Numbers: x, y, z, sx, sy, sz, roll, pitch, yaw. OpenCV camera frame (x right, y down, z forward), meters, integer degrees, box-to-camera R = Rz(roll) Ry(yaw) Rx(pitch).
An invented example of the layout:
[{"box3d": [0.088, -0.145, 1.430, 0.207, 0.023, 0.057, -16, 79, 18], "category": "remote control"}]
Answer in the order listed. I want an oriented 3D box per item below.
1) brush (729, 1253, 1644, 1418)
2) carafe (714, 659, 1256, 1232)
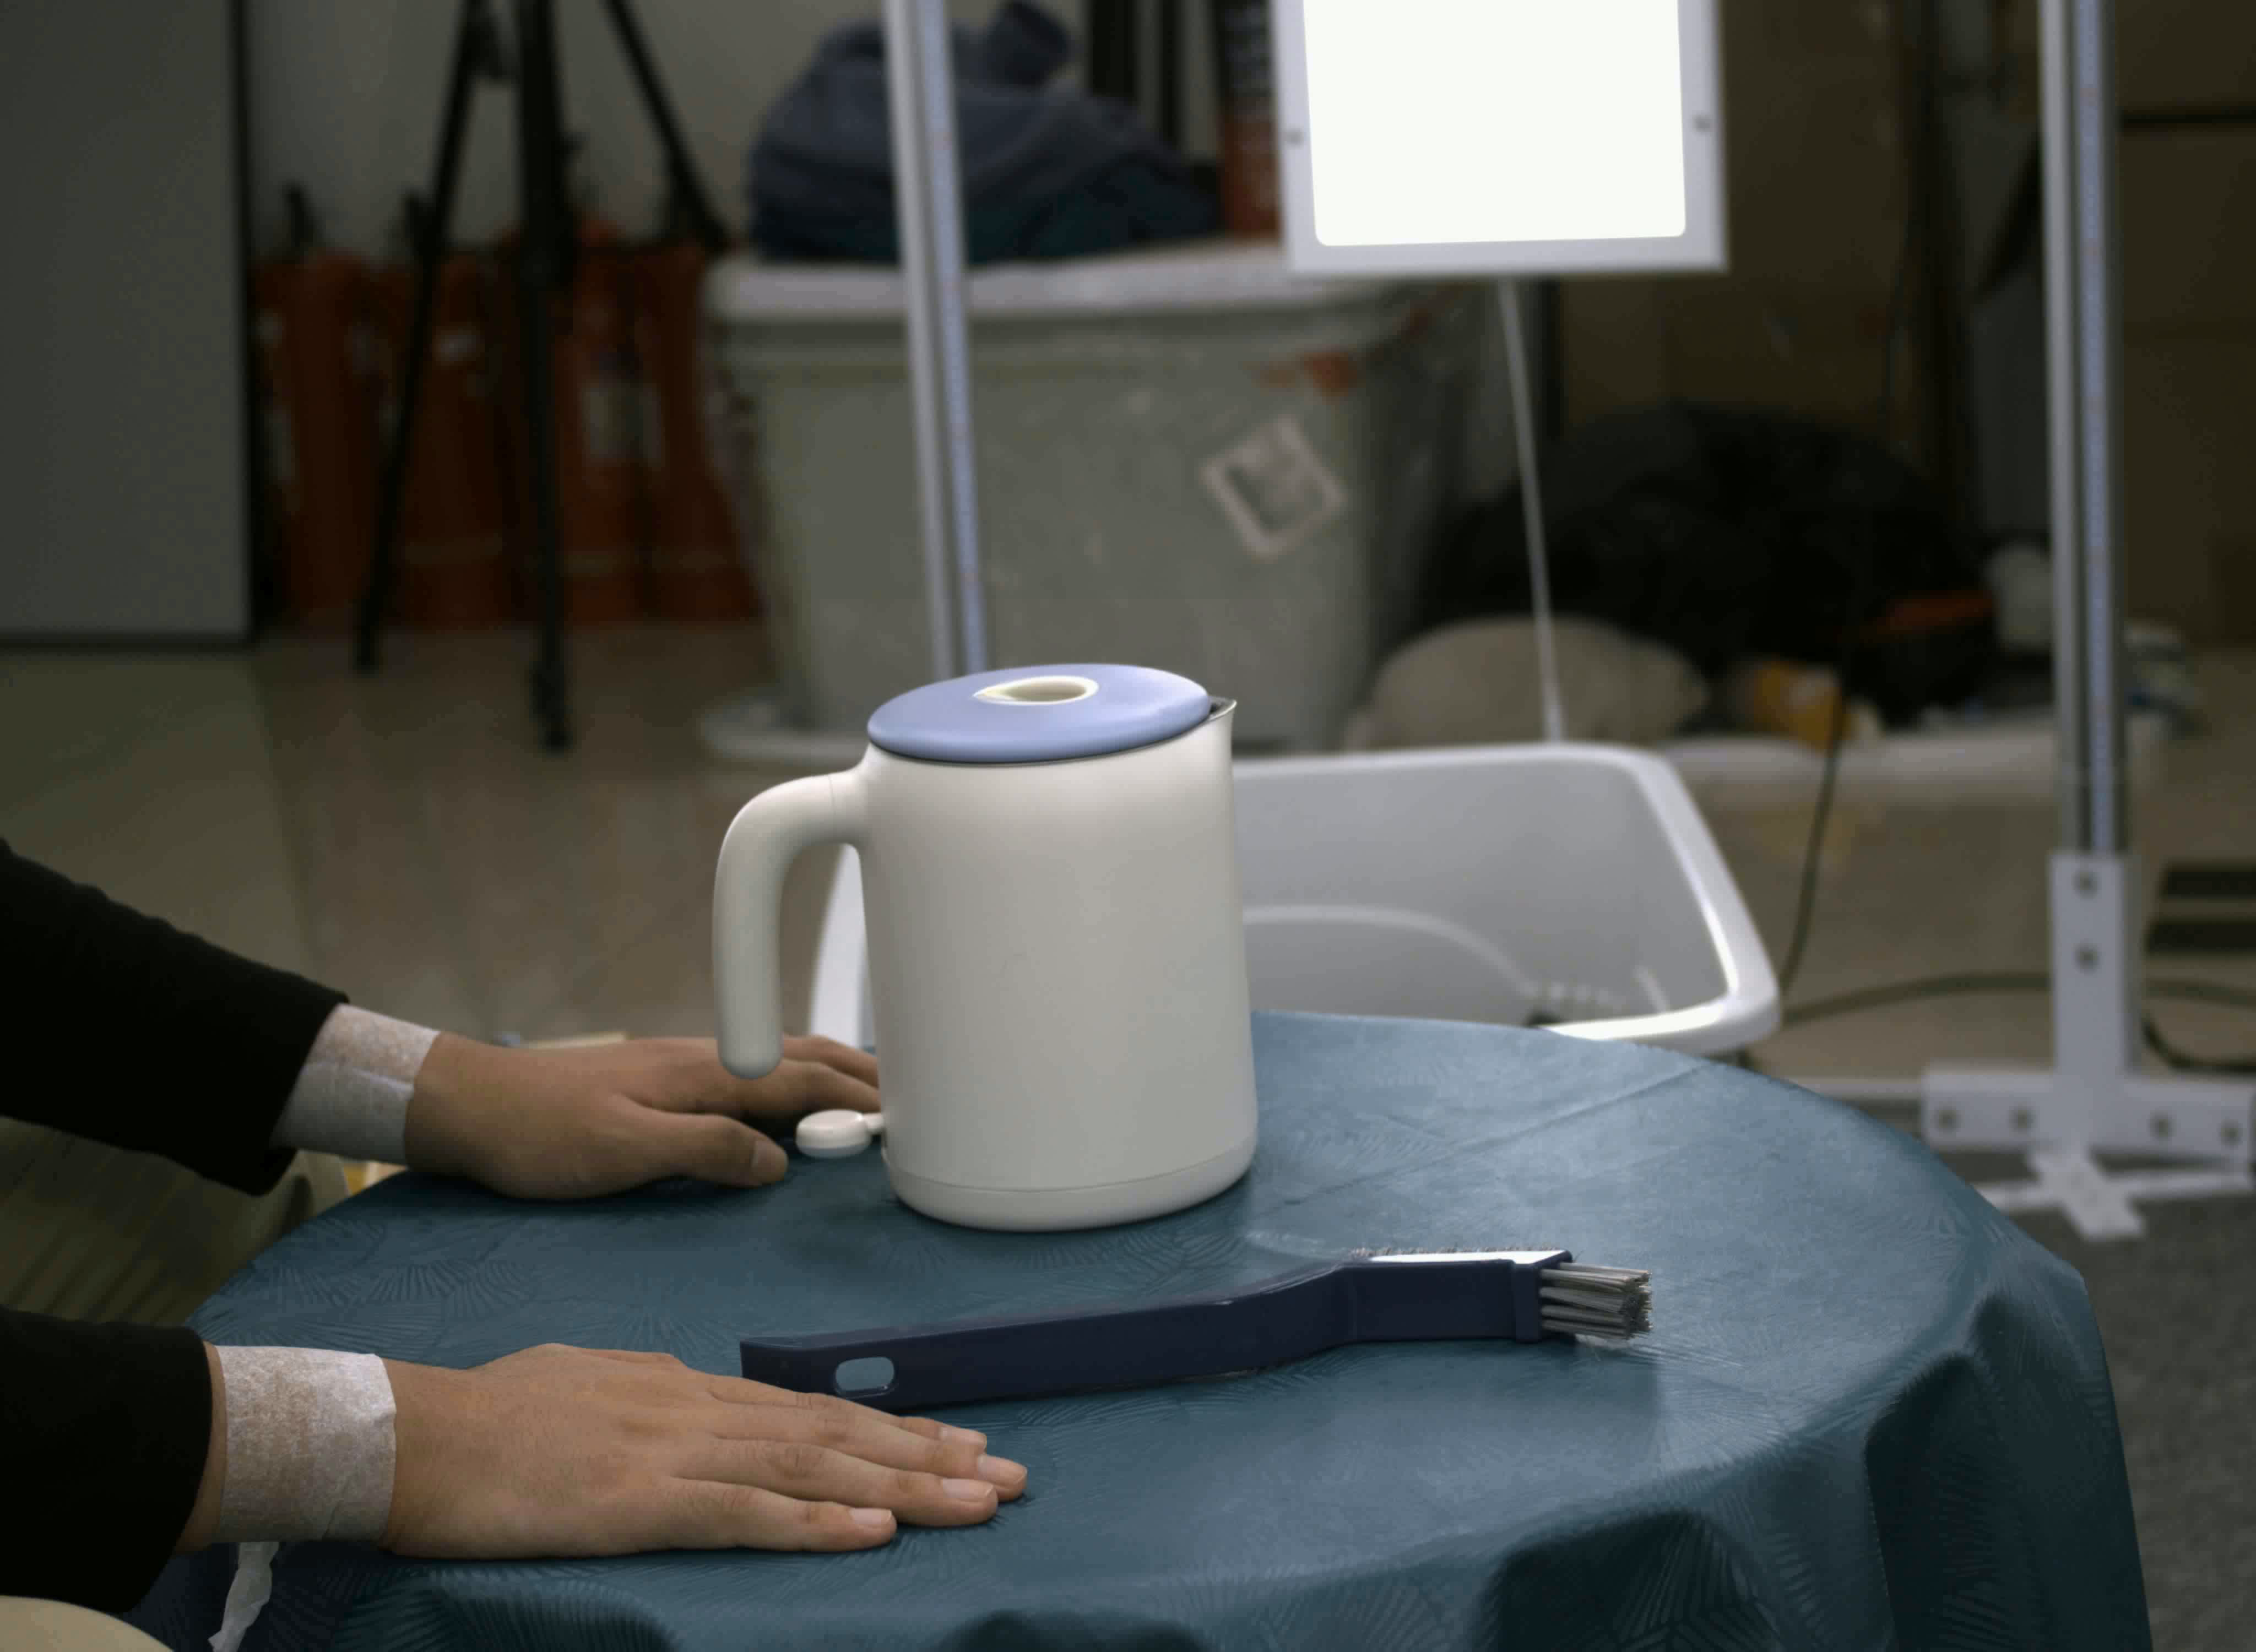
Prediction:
[{"box3d": [0.017, 0.158, 1.698, 0.269, 0.033, 0.096, -7, 17, -13], "category": "brush"}, {"box3d": [-0.049, 0.043, 1.895, 0.189, 0.183, 0.133, -8, 13, -7], "category": "carafe"}]
